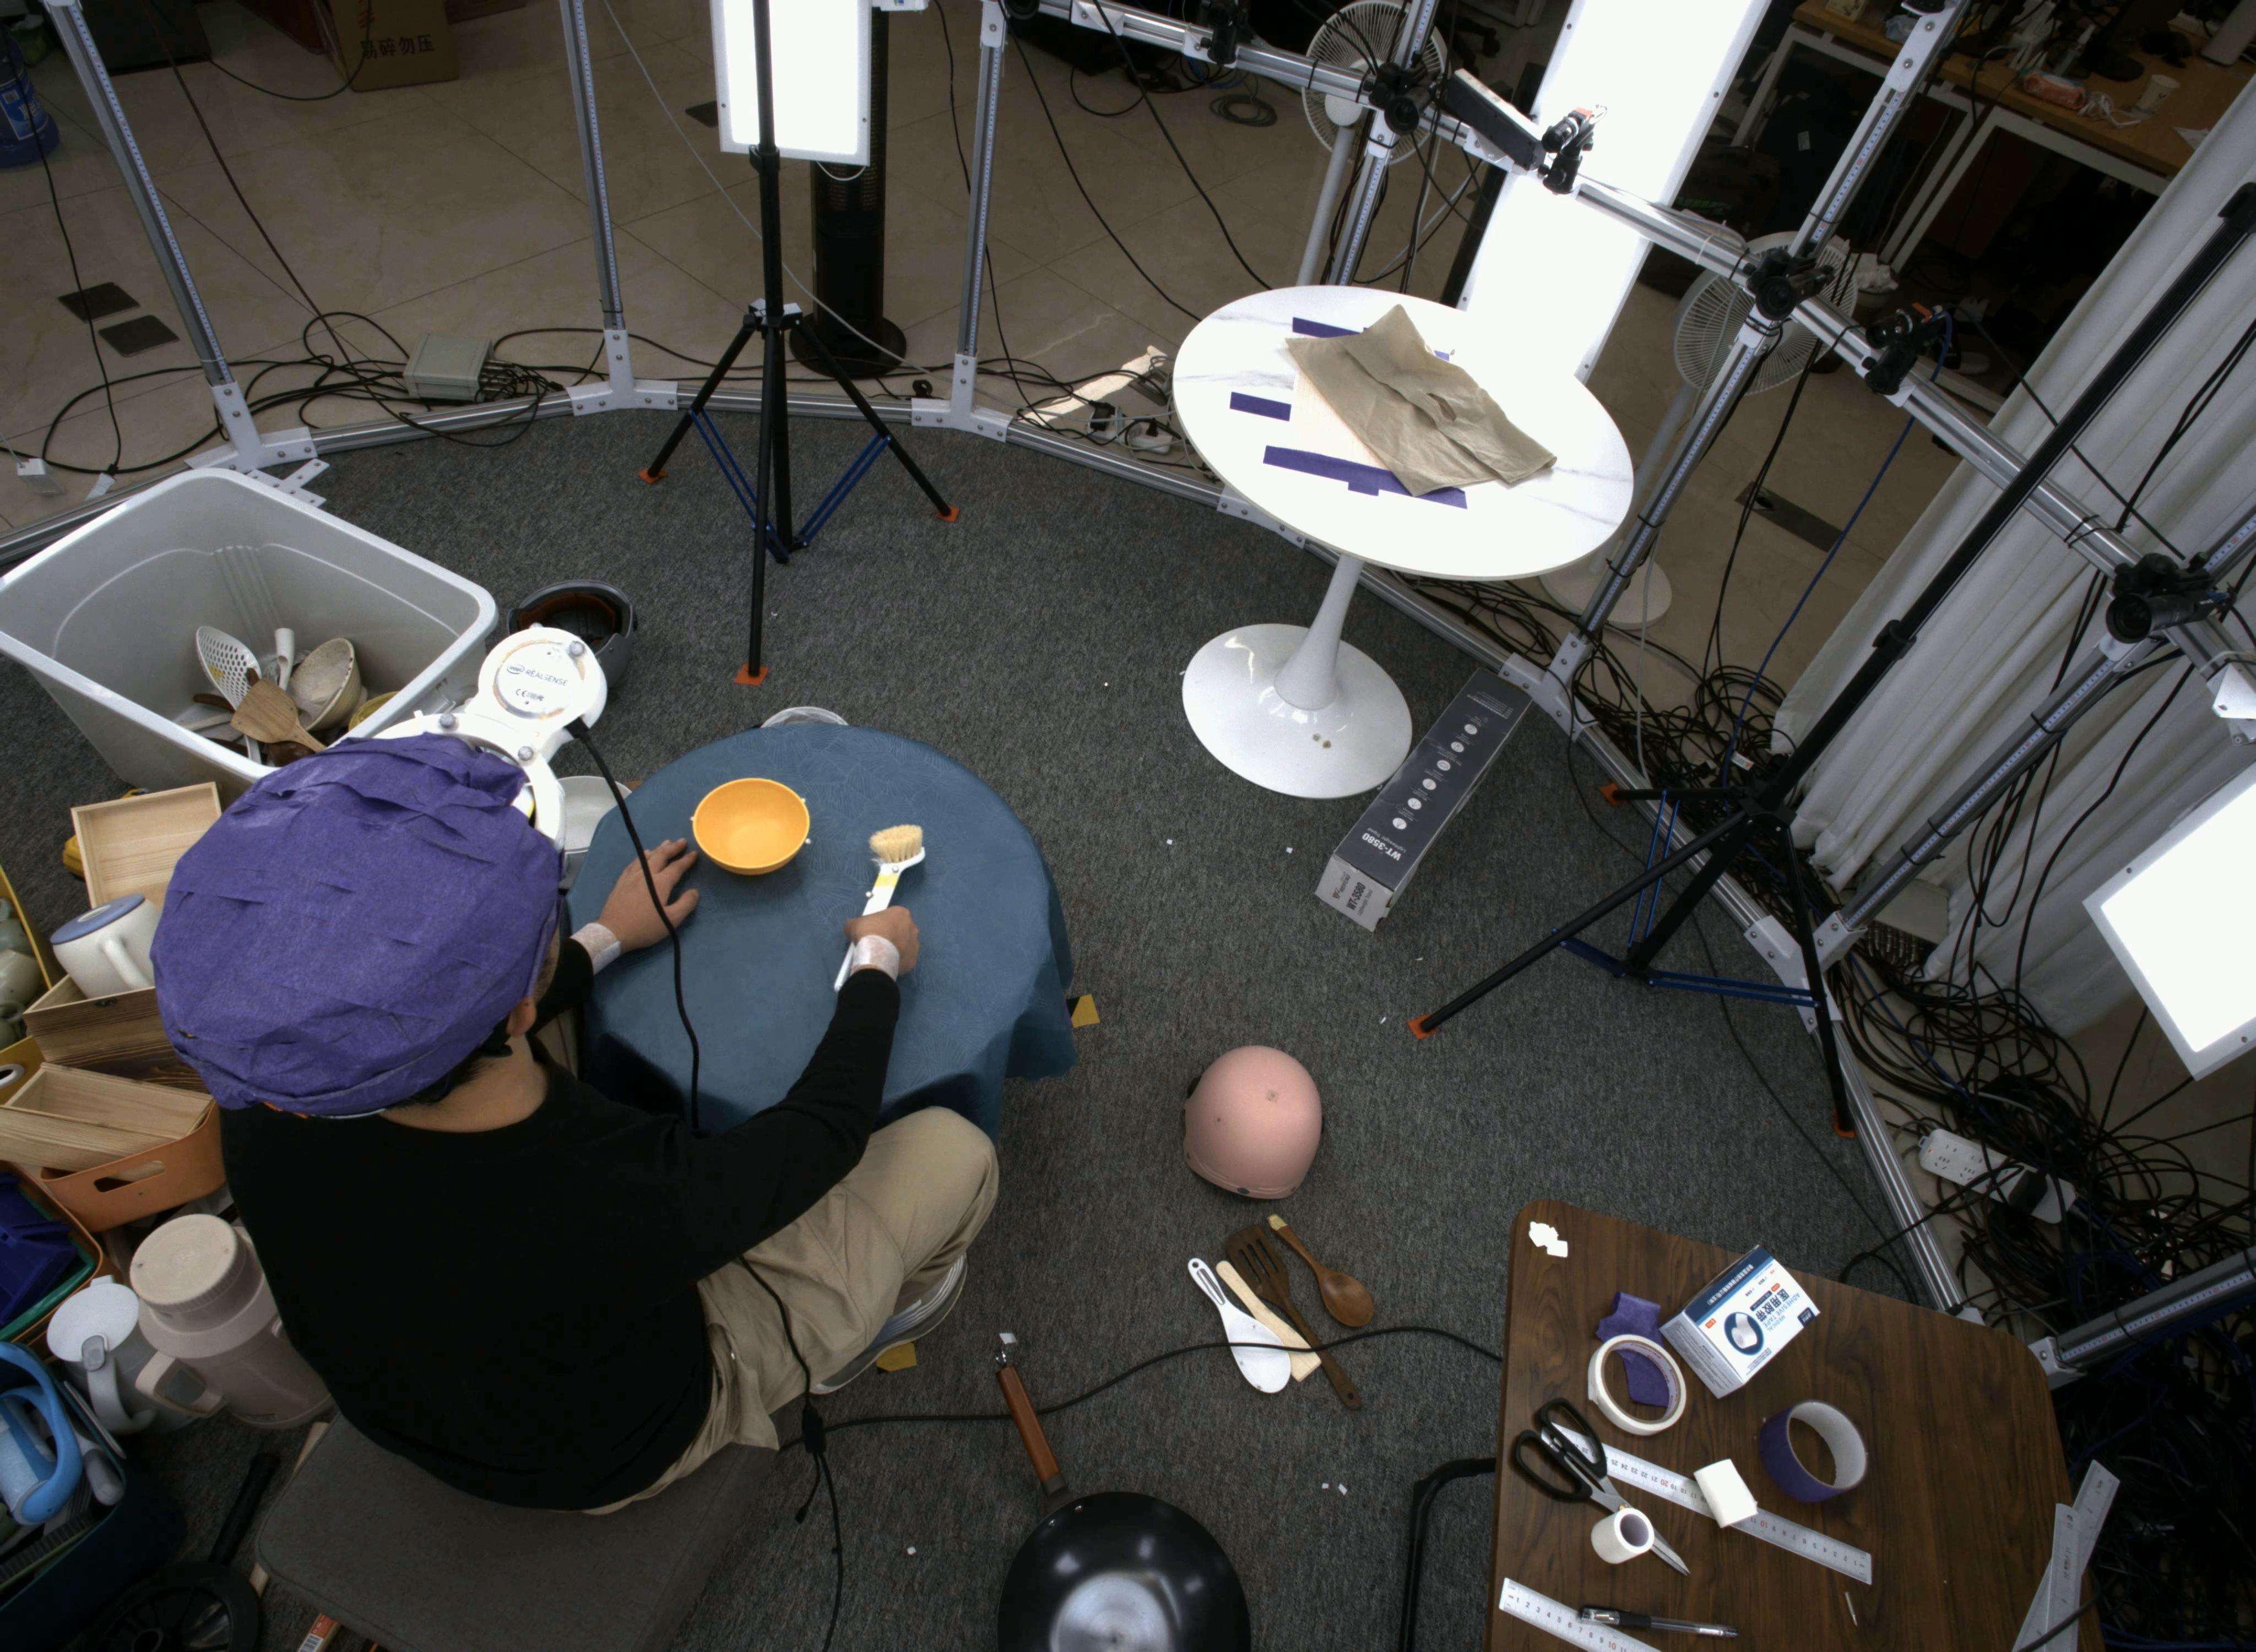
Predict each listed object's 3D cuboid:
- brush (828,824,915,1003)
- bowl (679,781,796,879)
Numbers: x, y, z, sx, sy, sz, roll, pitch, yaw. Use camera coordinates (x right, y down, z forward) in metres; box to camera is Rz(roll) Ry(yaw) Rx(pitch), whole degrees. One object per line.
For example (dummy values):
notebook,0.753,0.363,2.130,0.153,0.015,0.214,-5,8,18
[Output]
brush,-0.329,0.096,1.618,0.067,0.058,0.263,-7,44,24
bowl,-0.496,0.015,1.651,0.145,0.061,0.143,7,52,-7
